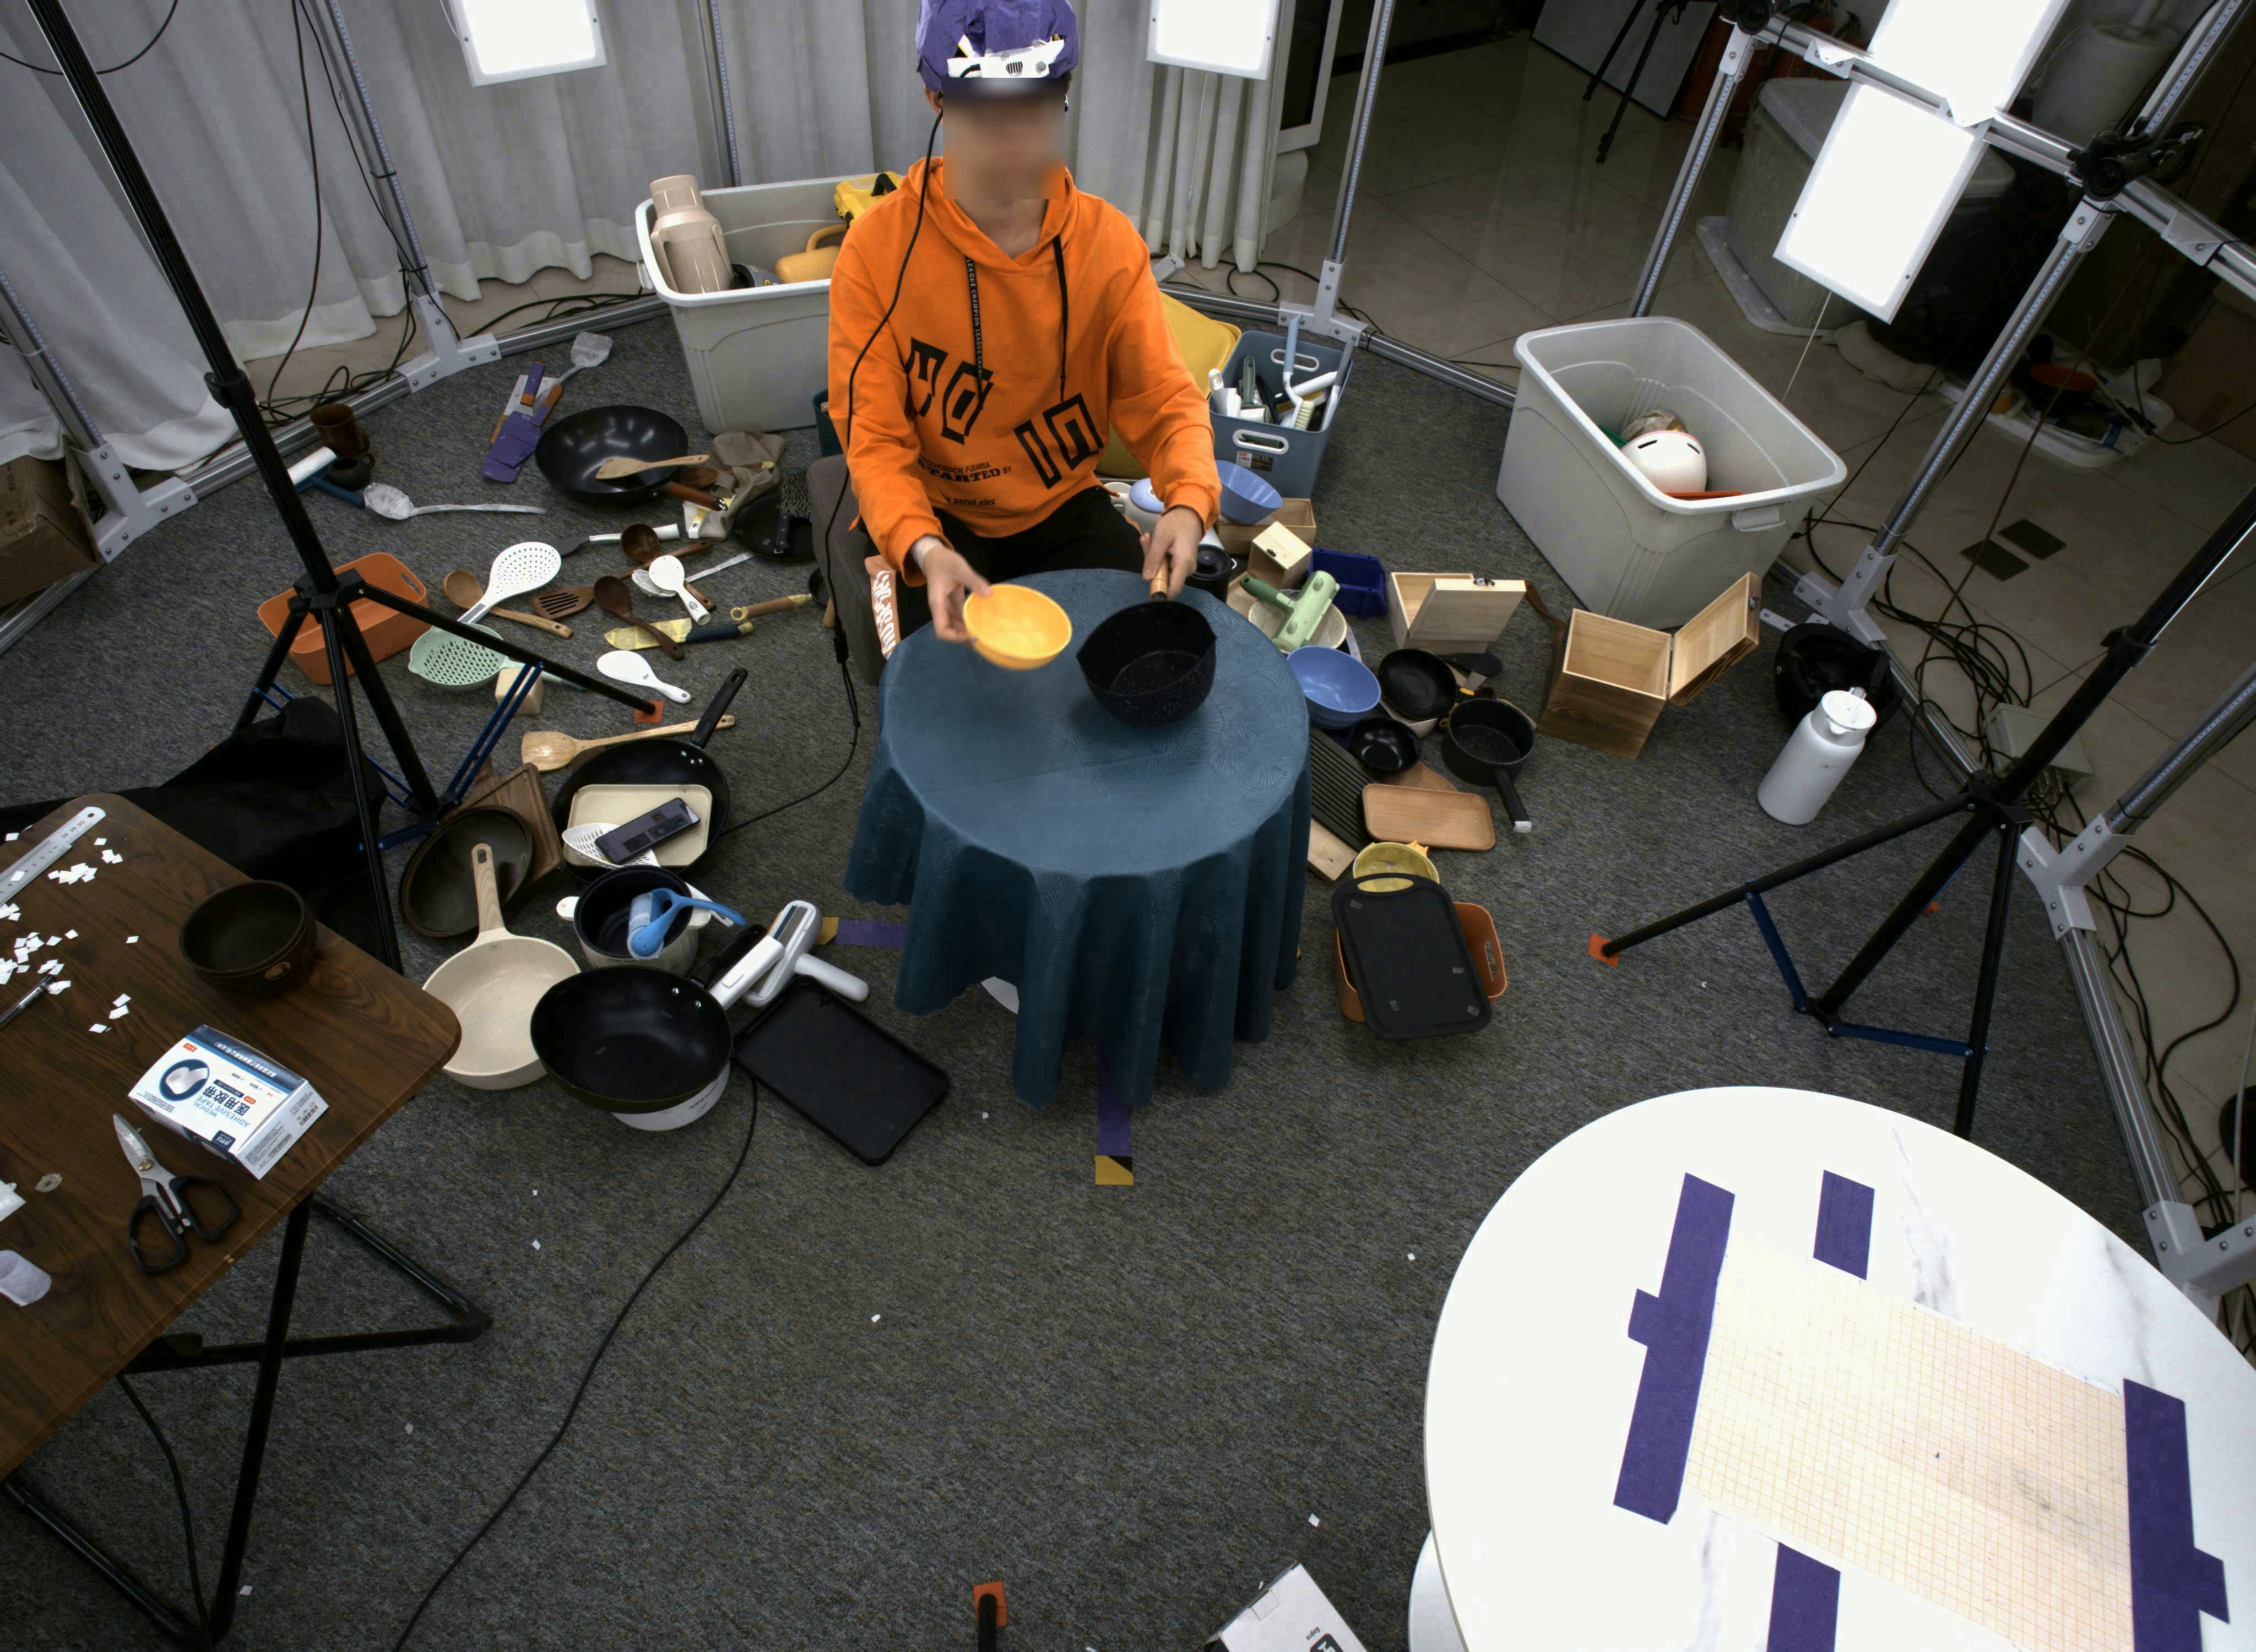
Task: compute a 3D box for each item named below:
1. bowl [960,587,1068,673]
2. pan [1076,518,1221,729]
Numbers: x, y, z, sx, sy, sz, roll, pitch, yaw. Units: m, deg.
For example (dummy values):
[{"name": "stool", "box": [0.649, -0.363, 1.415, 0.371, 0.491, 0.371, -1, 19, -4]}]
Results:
[{"name": "bowl", "box": [-0.156, -0.249, 1.712, 0.145, 0.059, 0.149, 10, 46, -10]}, {"name": "pan", "box": [0.042, -0.286, 1.819, 0.207, 0.105, 0.351, -6, 50, 17]}]
